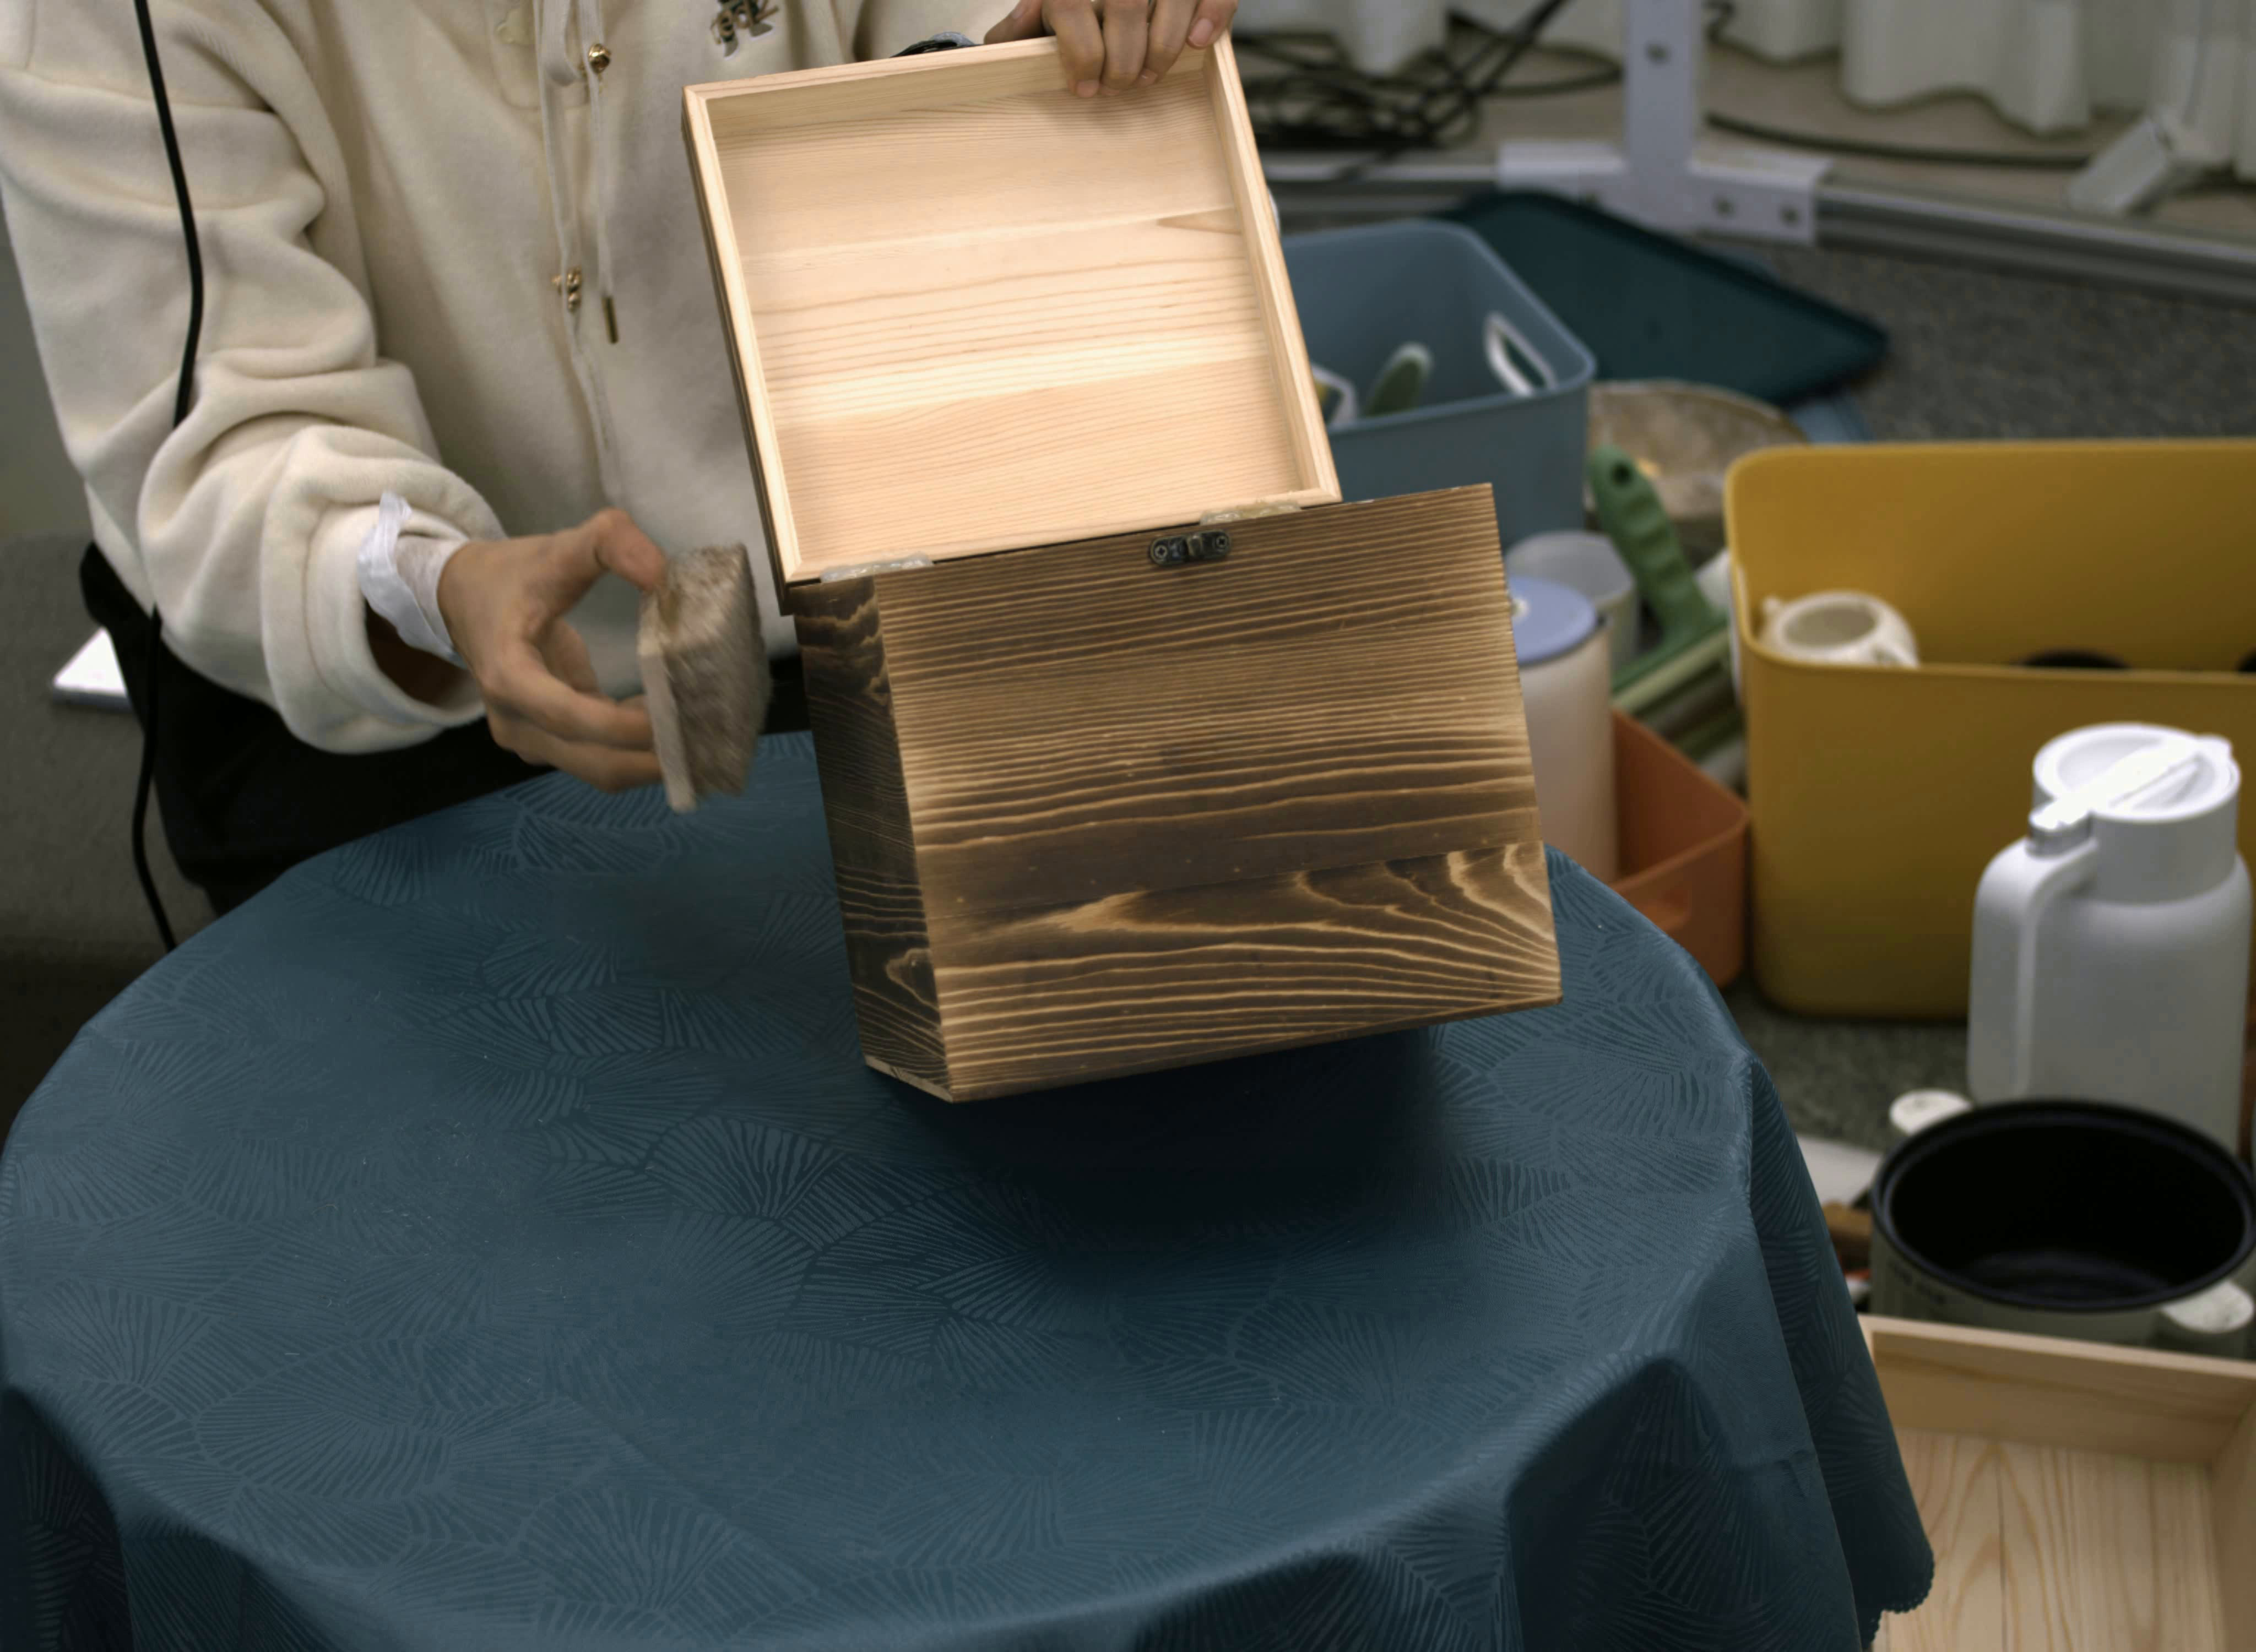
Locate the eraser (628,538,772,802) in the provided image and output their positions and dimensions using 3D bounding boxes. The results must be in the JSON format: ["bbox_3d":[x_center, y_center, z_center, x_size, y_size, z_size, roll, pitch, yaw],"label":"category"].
[{"bbox_3d":[-0.145,-0.056,1.924,0.029,0.057,0.141,-9,16,5],"label":"eraser"}]

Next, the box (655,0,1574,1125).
[{"bbox_3d":[-0.015,-0.111,1.914,0.208,0.376,0.321,-10,2,-11],"label":"box"}]
